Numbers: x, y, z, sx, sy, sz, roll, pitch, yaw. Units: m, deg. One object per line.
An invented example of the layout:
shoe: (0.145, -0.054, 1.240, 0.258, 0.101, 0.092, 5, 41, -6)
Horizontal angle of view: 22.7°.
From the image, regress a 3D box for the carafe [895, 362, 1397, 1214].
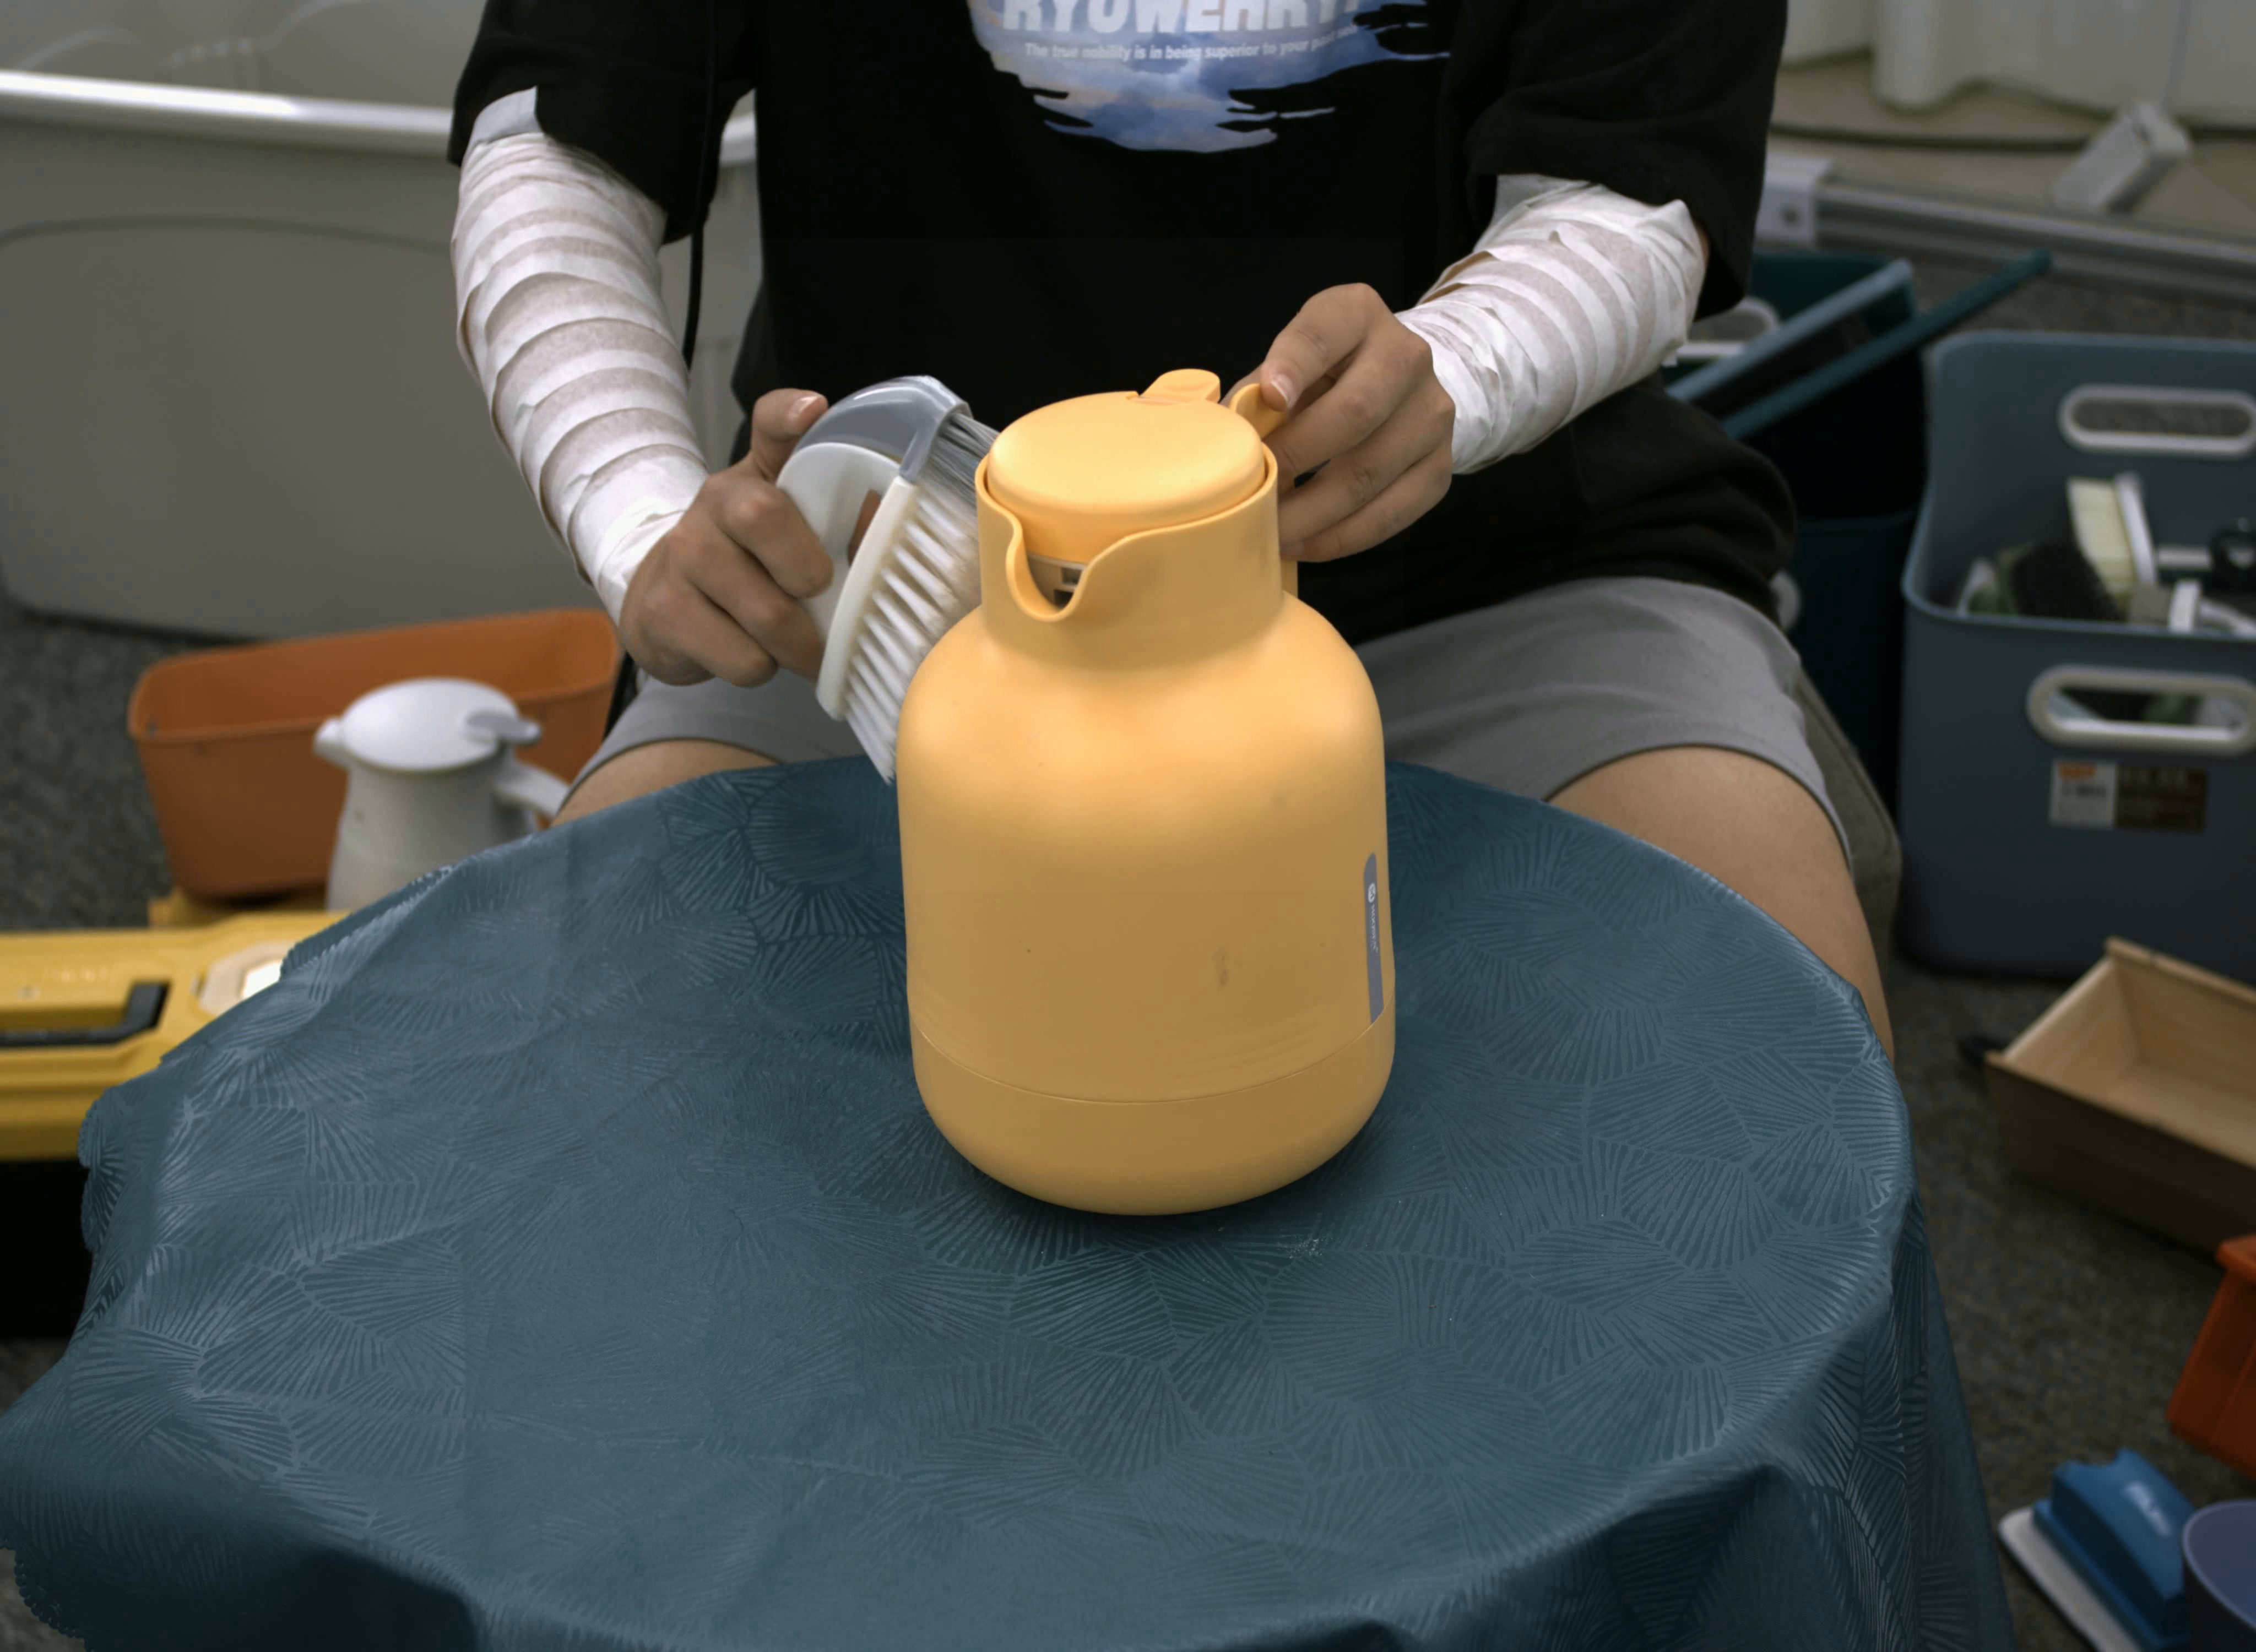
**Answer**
carafe: (0.013, -0.021, 1.859, 0.162, 0.257, 0.206, 10, 30, 21)

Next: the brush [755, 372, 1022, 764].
brush: (-0.081, -0.104, 1.906, 0.094, 0.172, 0.062, 41, 58, 12)
